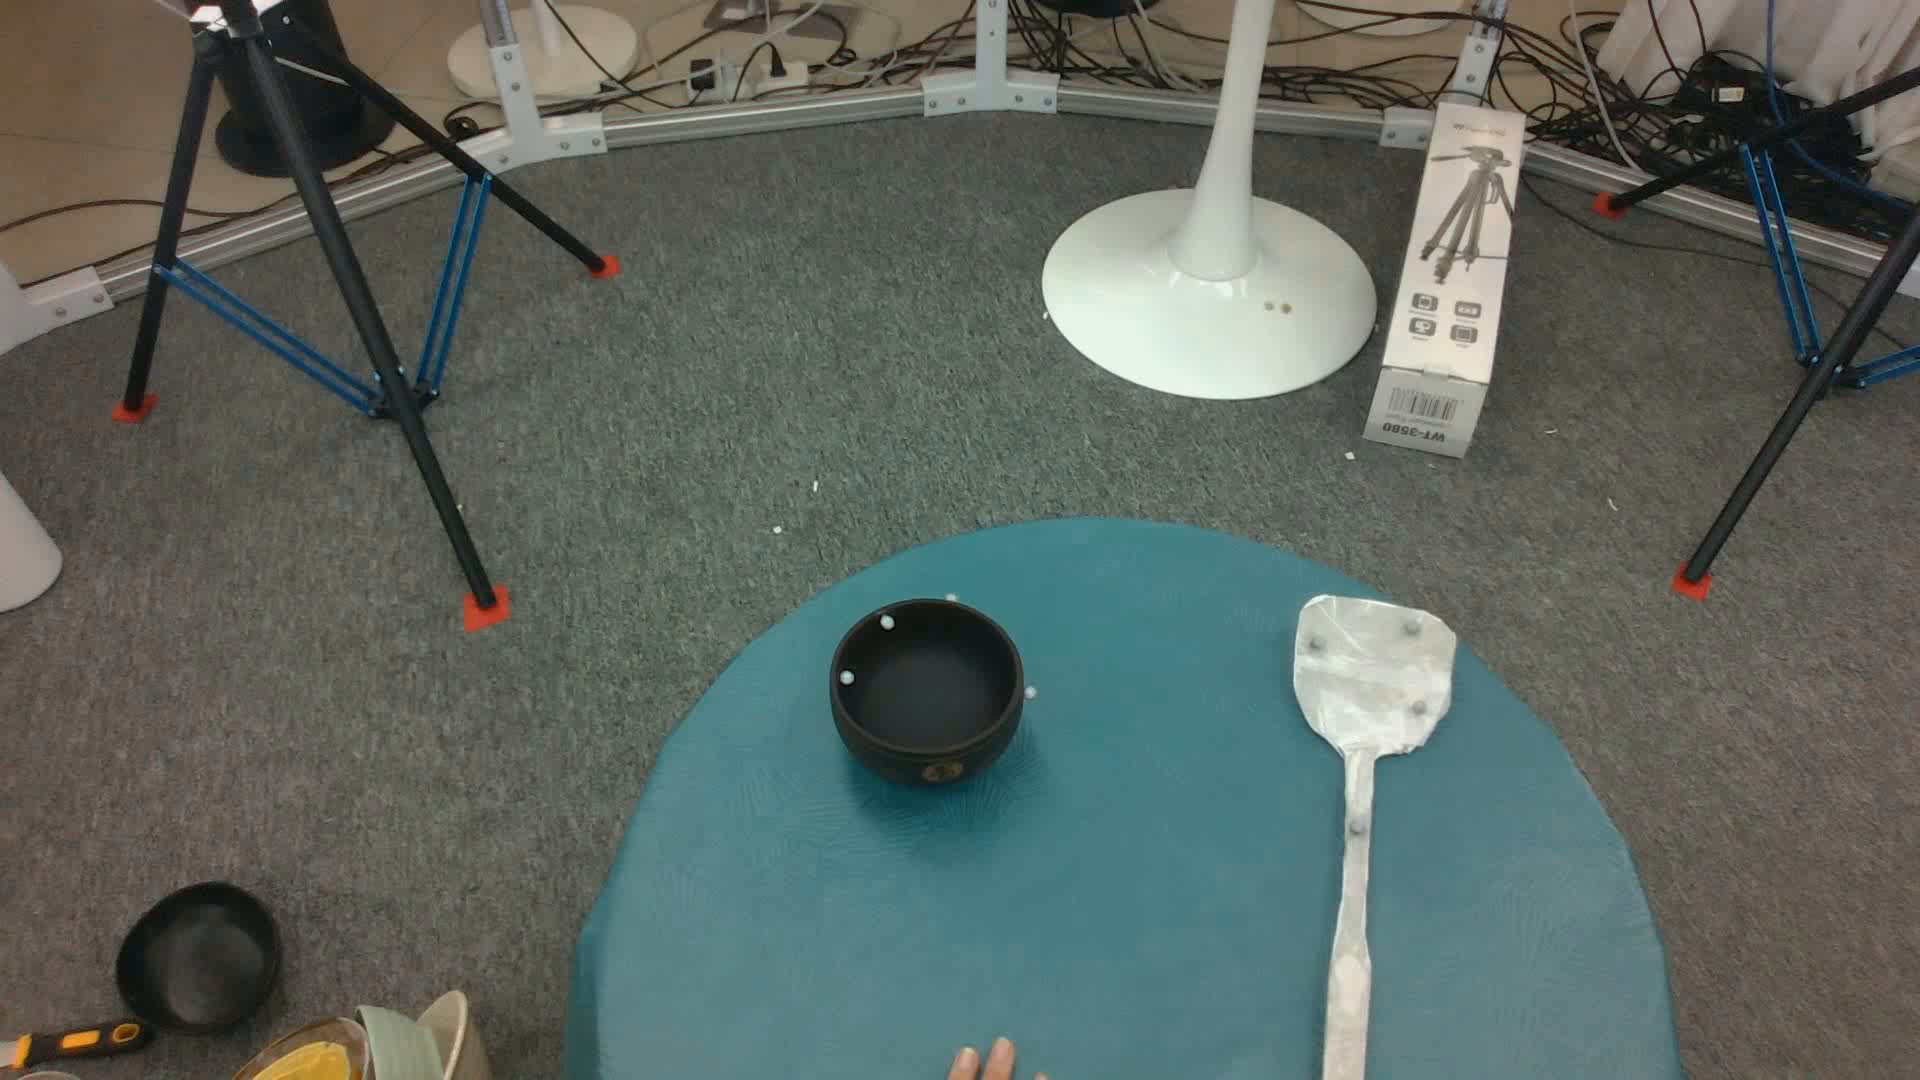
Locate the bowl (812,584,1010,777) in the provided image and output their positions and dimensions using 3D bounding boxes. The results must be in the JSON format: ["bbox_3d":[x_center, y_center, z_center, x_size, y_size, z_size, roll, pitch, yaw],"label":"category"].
[{"bbox_3d":[-0.029,0.092,0.835,0.118,0.069,0.118,0,51,0],"label":"bowl"}]

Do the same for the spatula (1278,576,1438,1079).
[{"bbox_3d":[0.216,0.173,0.791,0.098,0.044,0.367,13,50,7],"label":"spatula"}]
